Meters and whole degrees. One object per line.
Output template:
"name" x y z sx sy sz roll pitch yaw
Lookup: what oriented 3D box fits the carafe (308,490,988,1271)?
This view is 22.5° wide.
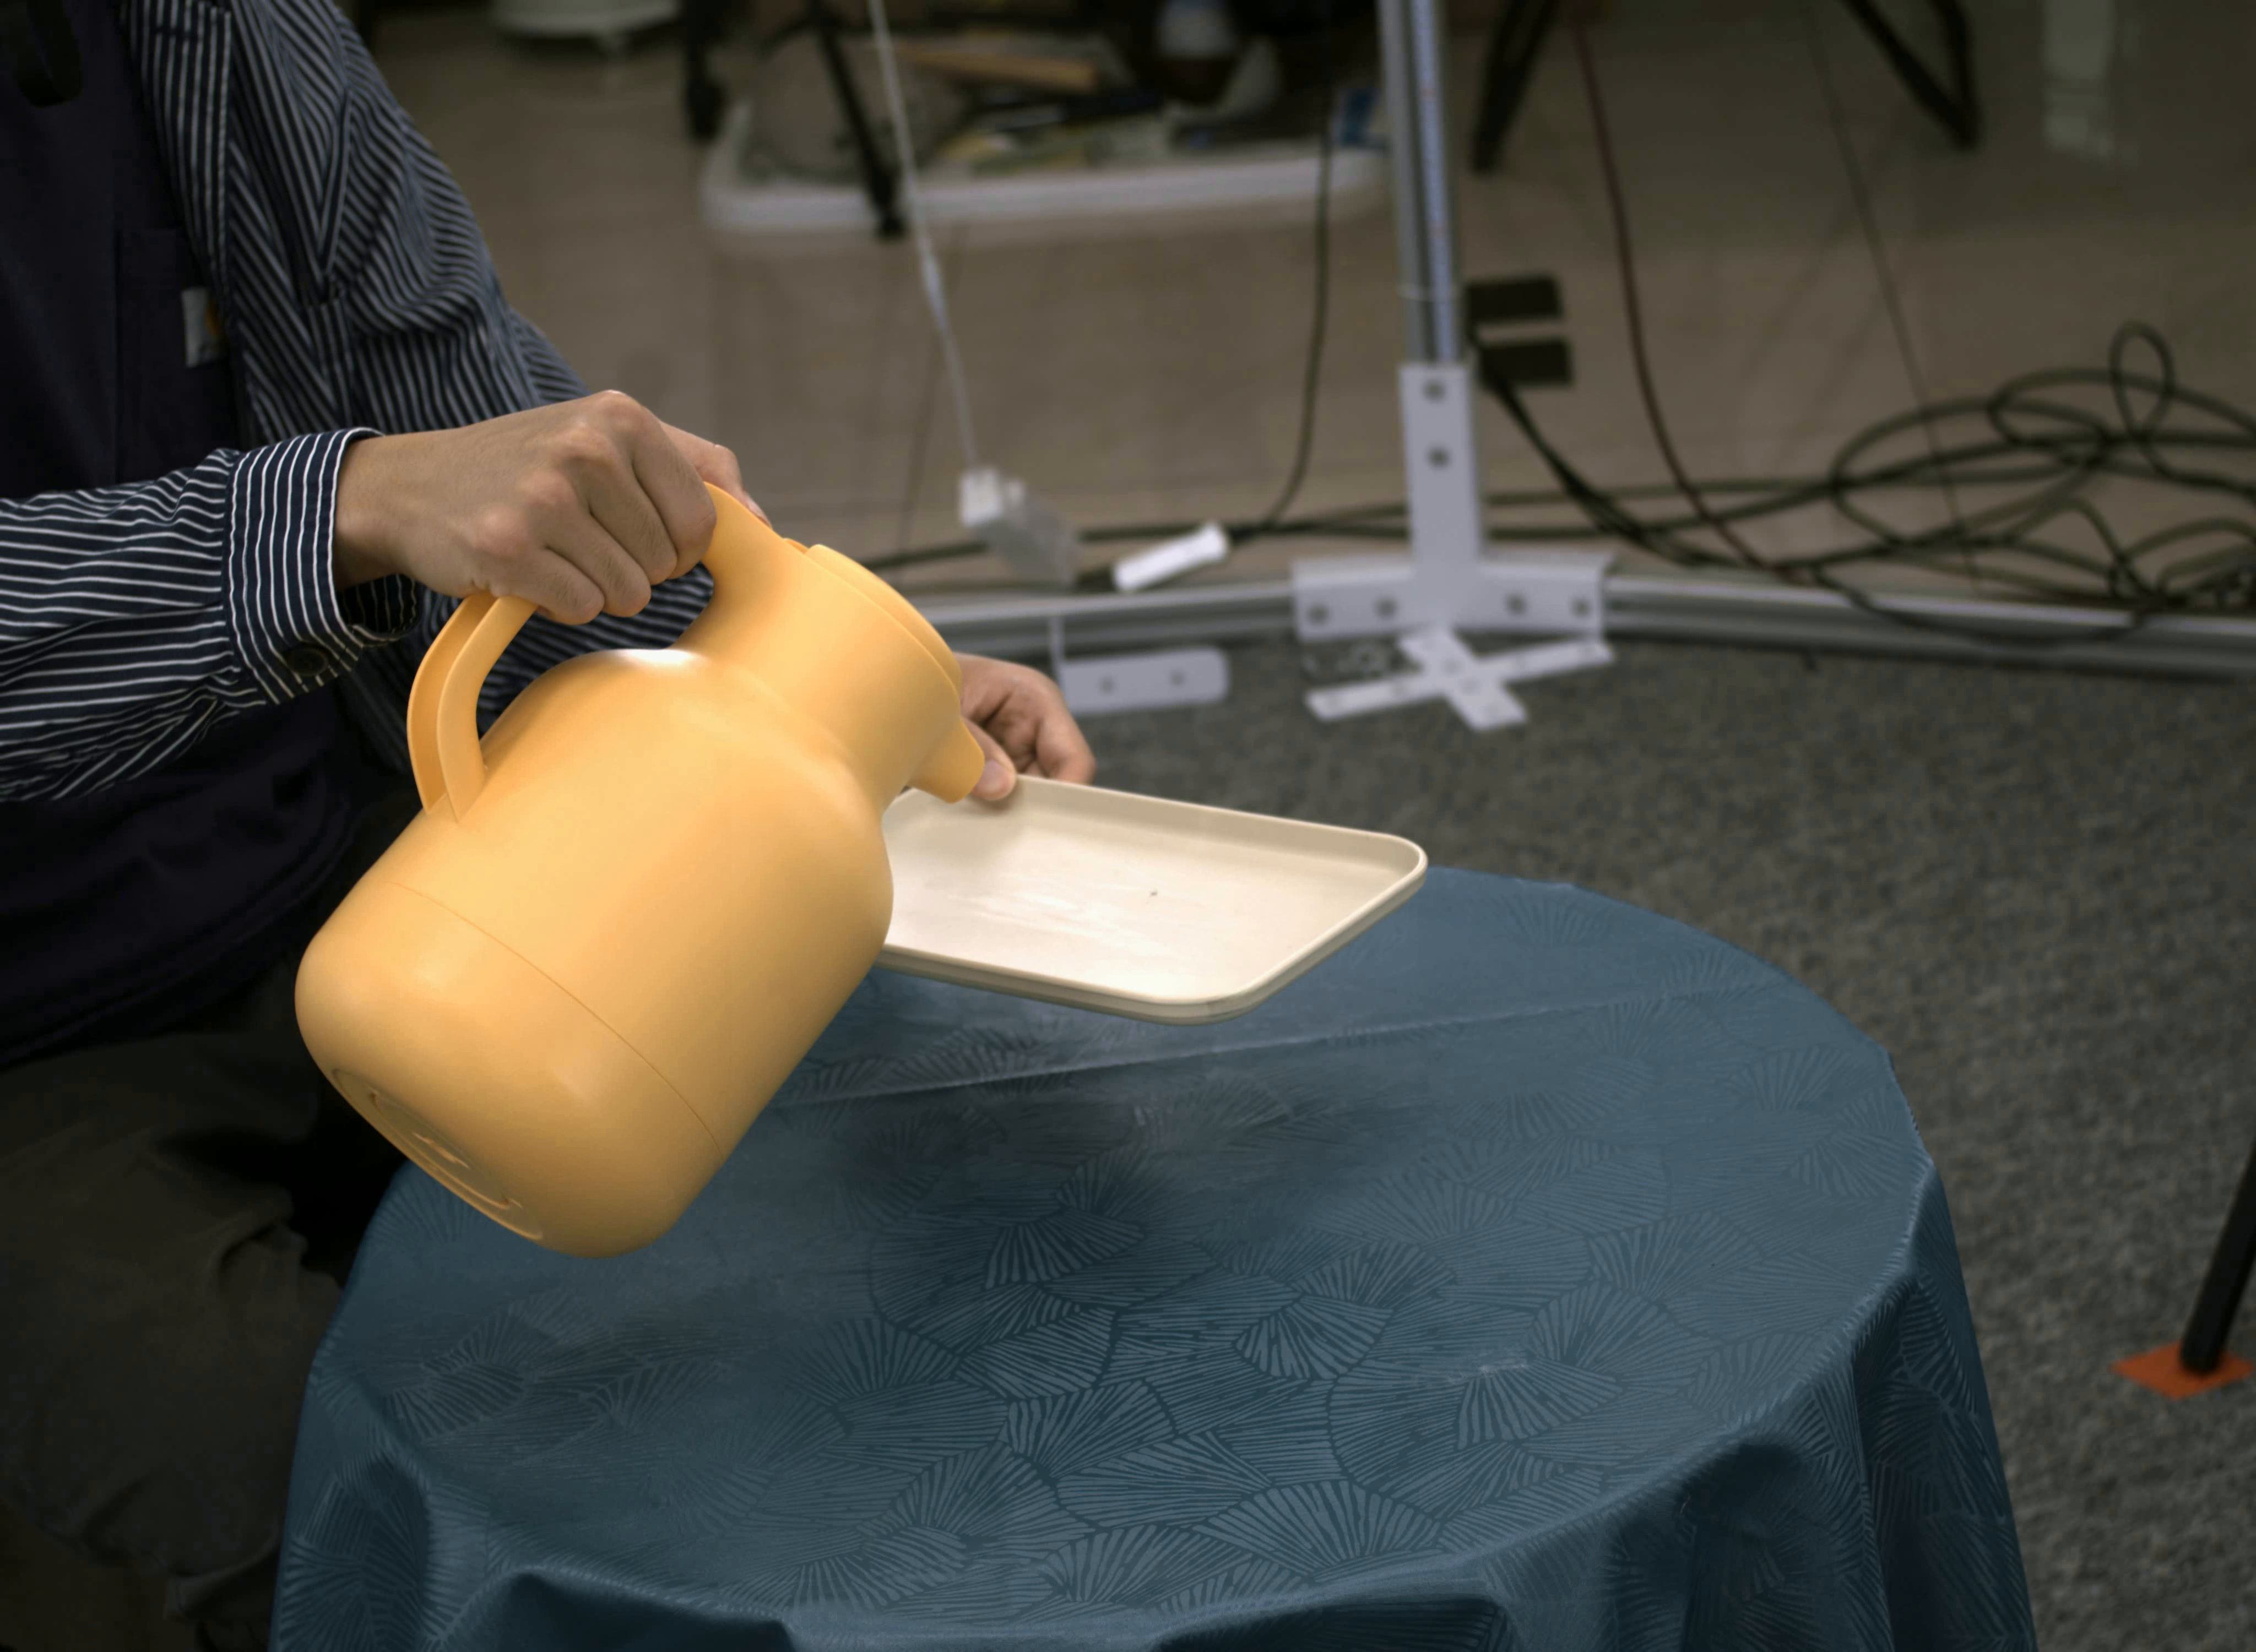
"carafe" -0.176 0.010 2.030 0.258 0.205 0.162 -52 33 -15

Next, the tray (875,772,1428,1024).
"tray" -0.018 0.027 2.168 0.238 0.018 0.169 10 26 33
